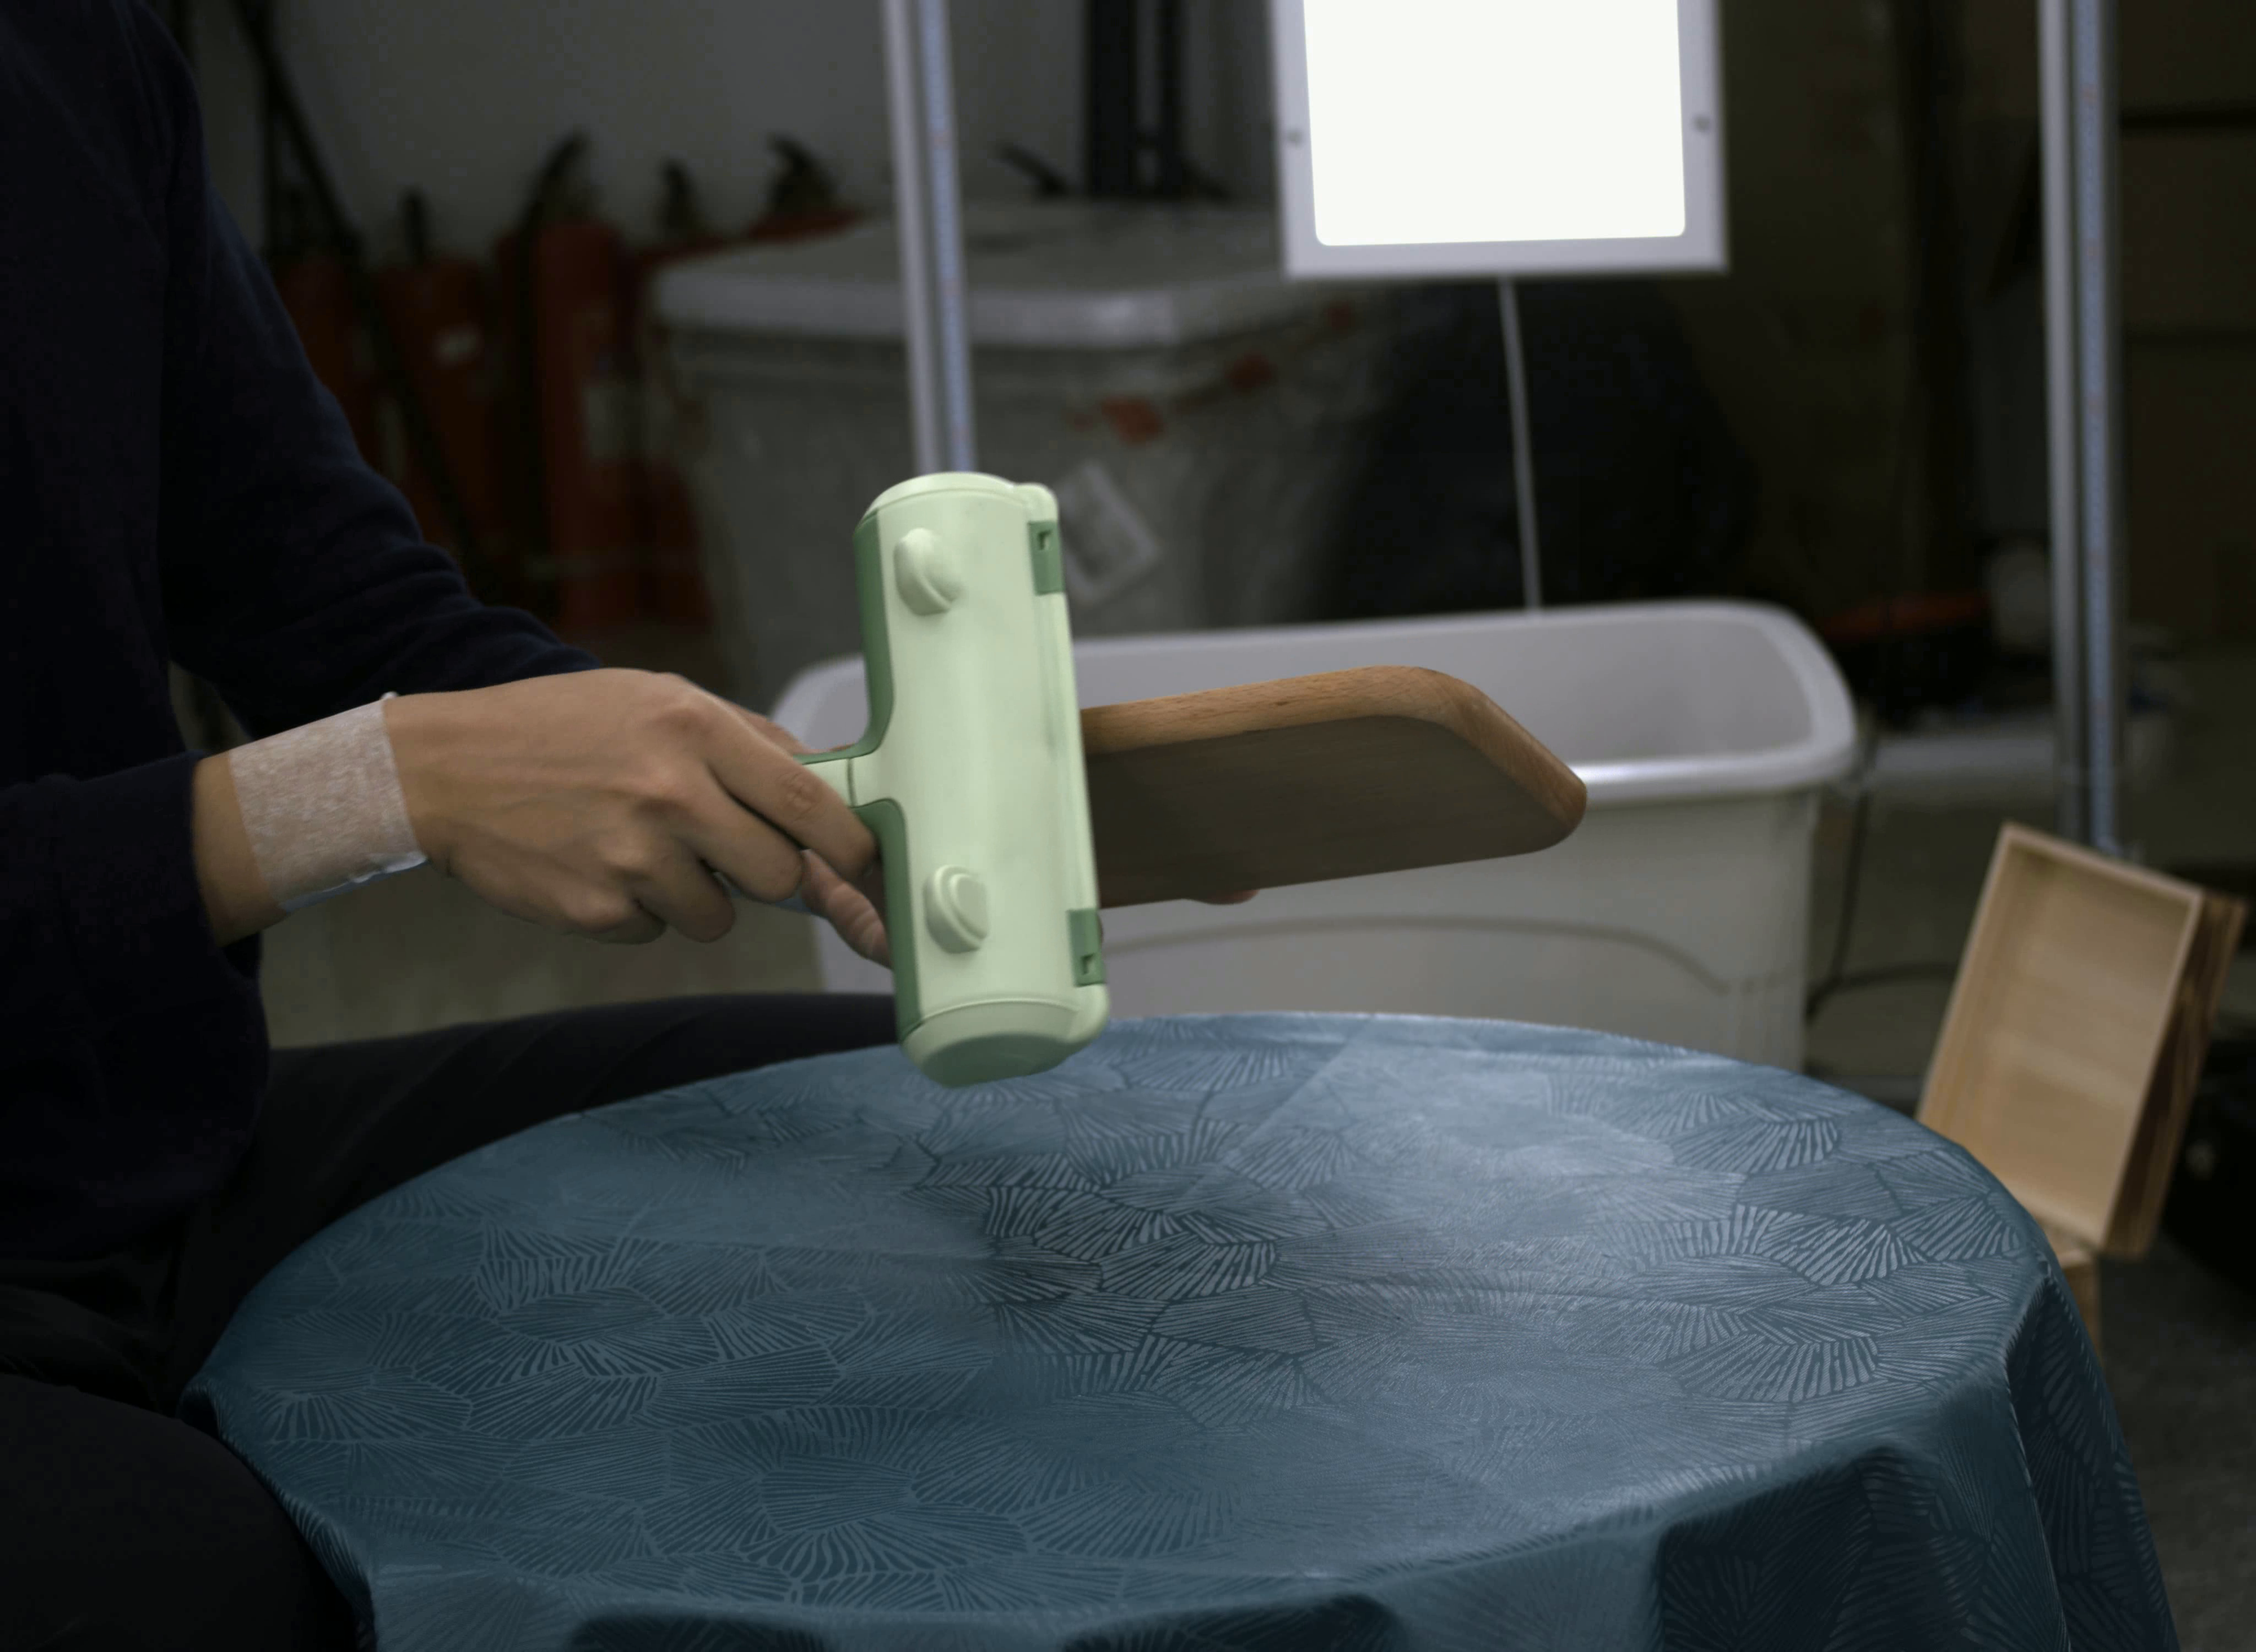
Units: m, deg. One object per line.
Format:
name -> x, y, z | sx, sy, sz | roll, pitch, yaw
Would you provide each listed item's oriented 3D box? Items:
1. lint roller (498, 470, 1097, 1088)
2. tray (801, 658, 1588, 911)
lint roller -> -0.109, -0.014, 1.732 | 0.182, 0.199, 0.082 | -6, -24, -1
tray -> 0.020, -0.009, 1.793 | 0.256, 0.023, 0.128 | -9, -30, 32
